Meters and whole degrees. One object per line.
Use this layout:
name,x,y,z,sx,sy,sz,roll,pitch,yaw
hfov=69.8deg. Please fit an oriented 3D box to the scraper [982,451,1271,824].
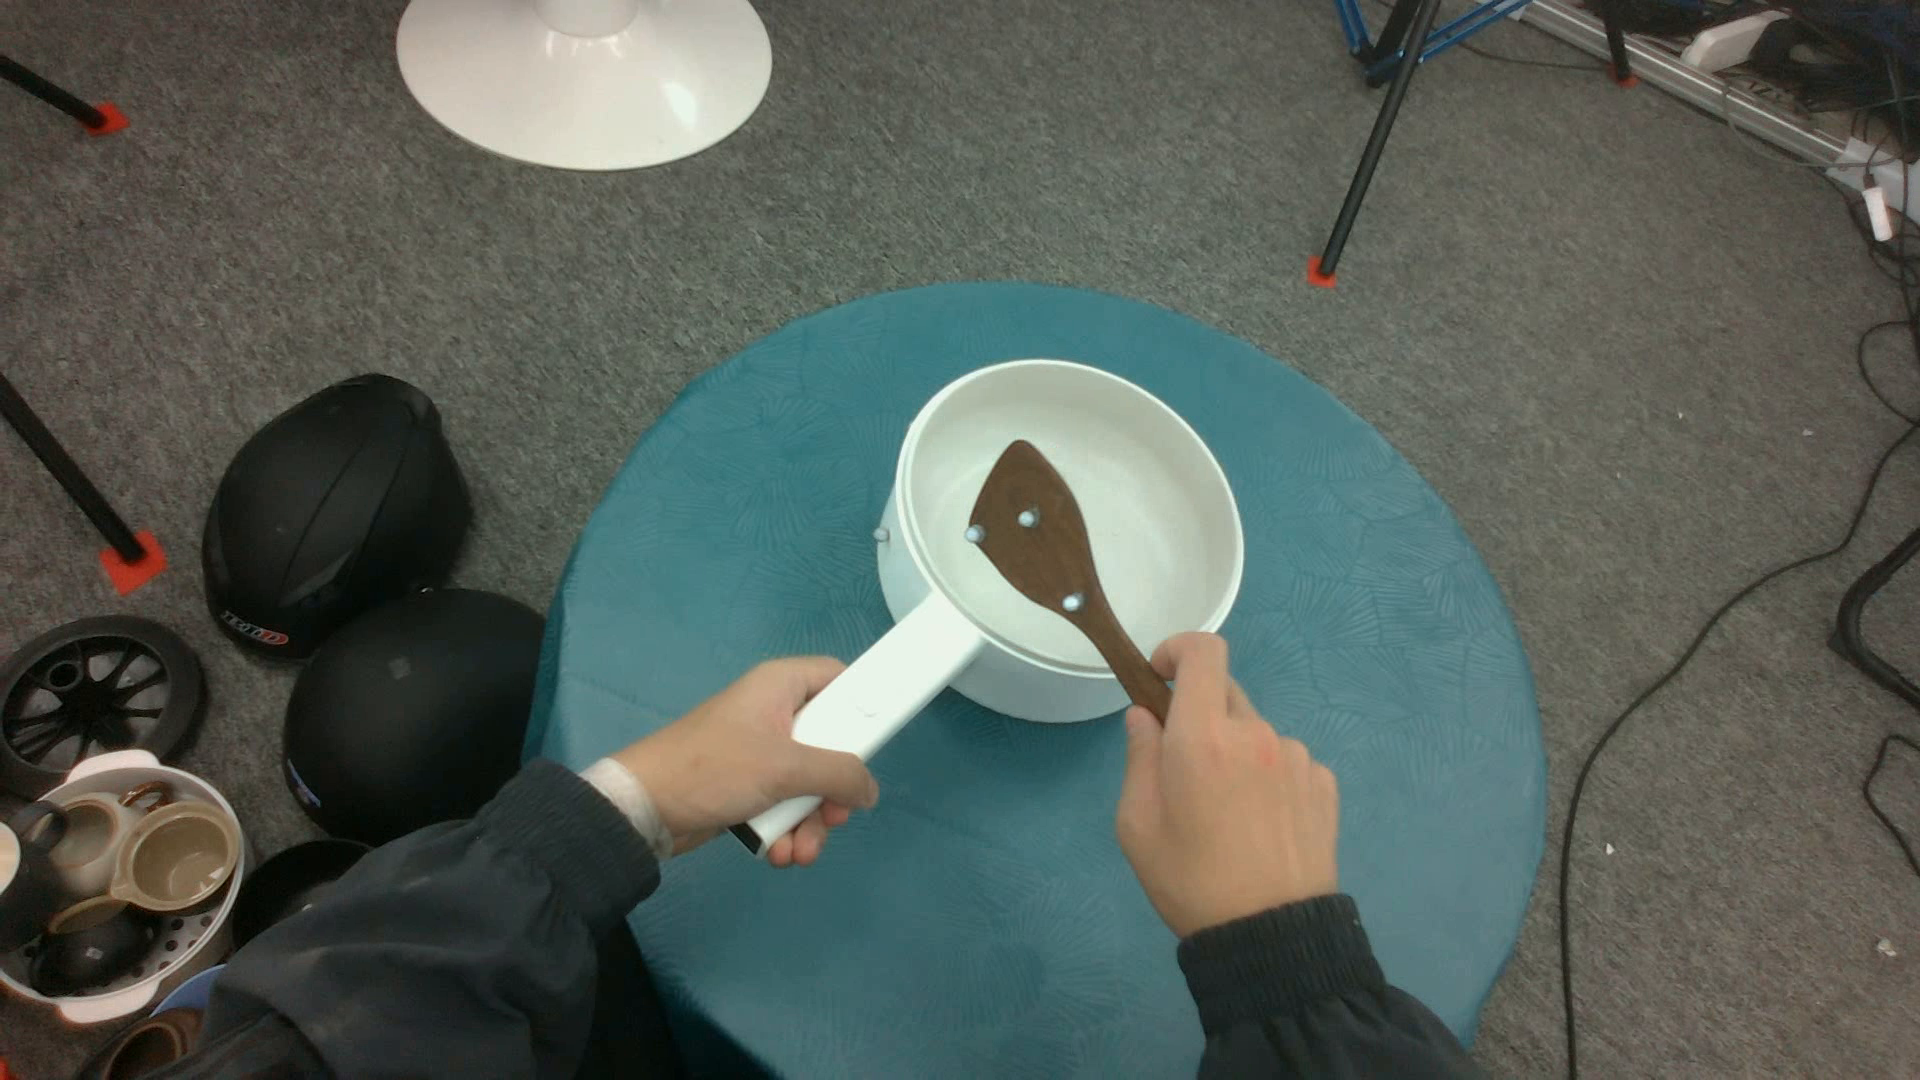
scraper,0.079,0.048,0.667,0.011,0.075,0.211,-14,54,-37

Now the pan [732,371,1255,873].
pan,0.013,0.055,0.766,0.201,0.101,0.356,41,59,10
